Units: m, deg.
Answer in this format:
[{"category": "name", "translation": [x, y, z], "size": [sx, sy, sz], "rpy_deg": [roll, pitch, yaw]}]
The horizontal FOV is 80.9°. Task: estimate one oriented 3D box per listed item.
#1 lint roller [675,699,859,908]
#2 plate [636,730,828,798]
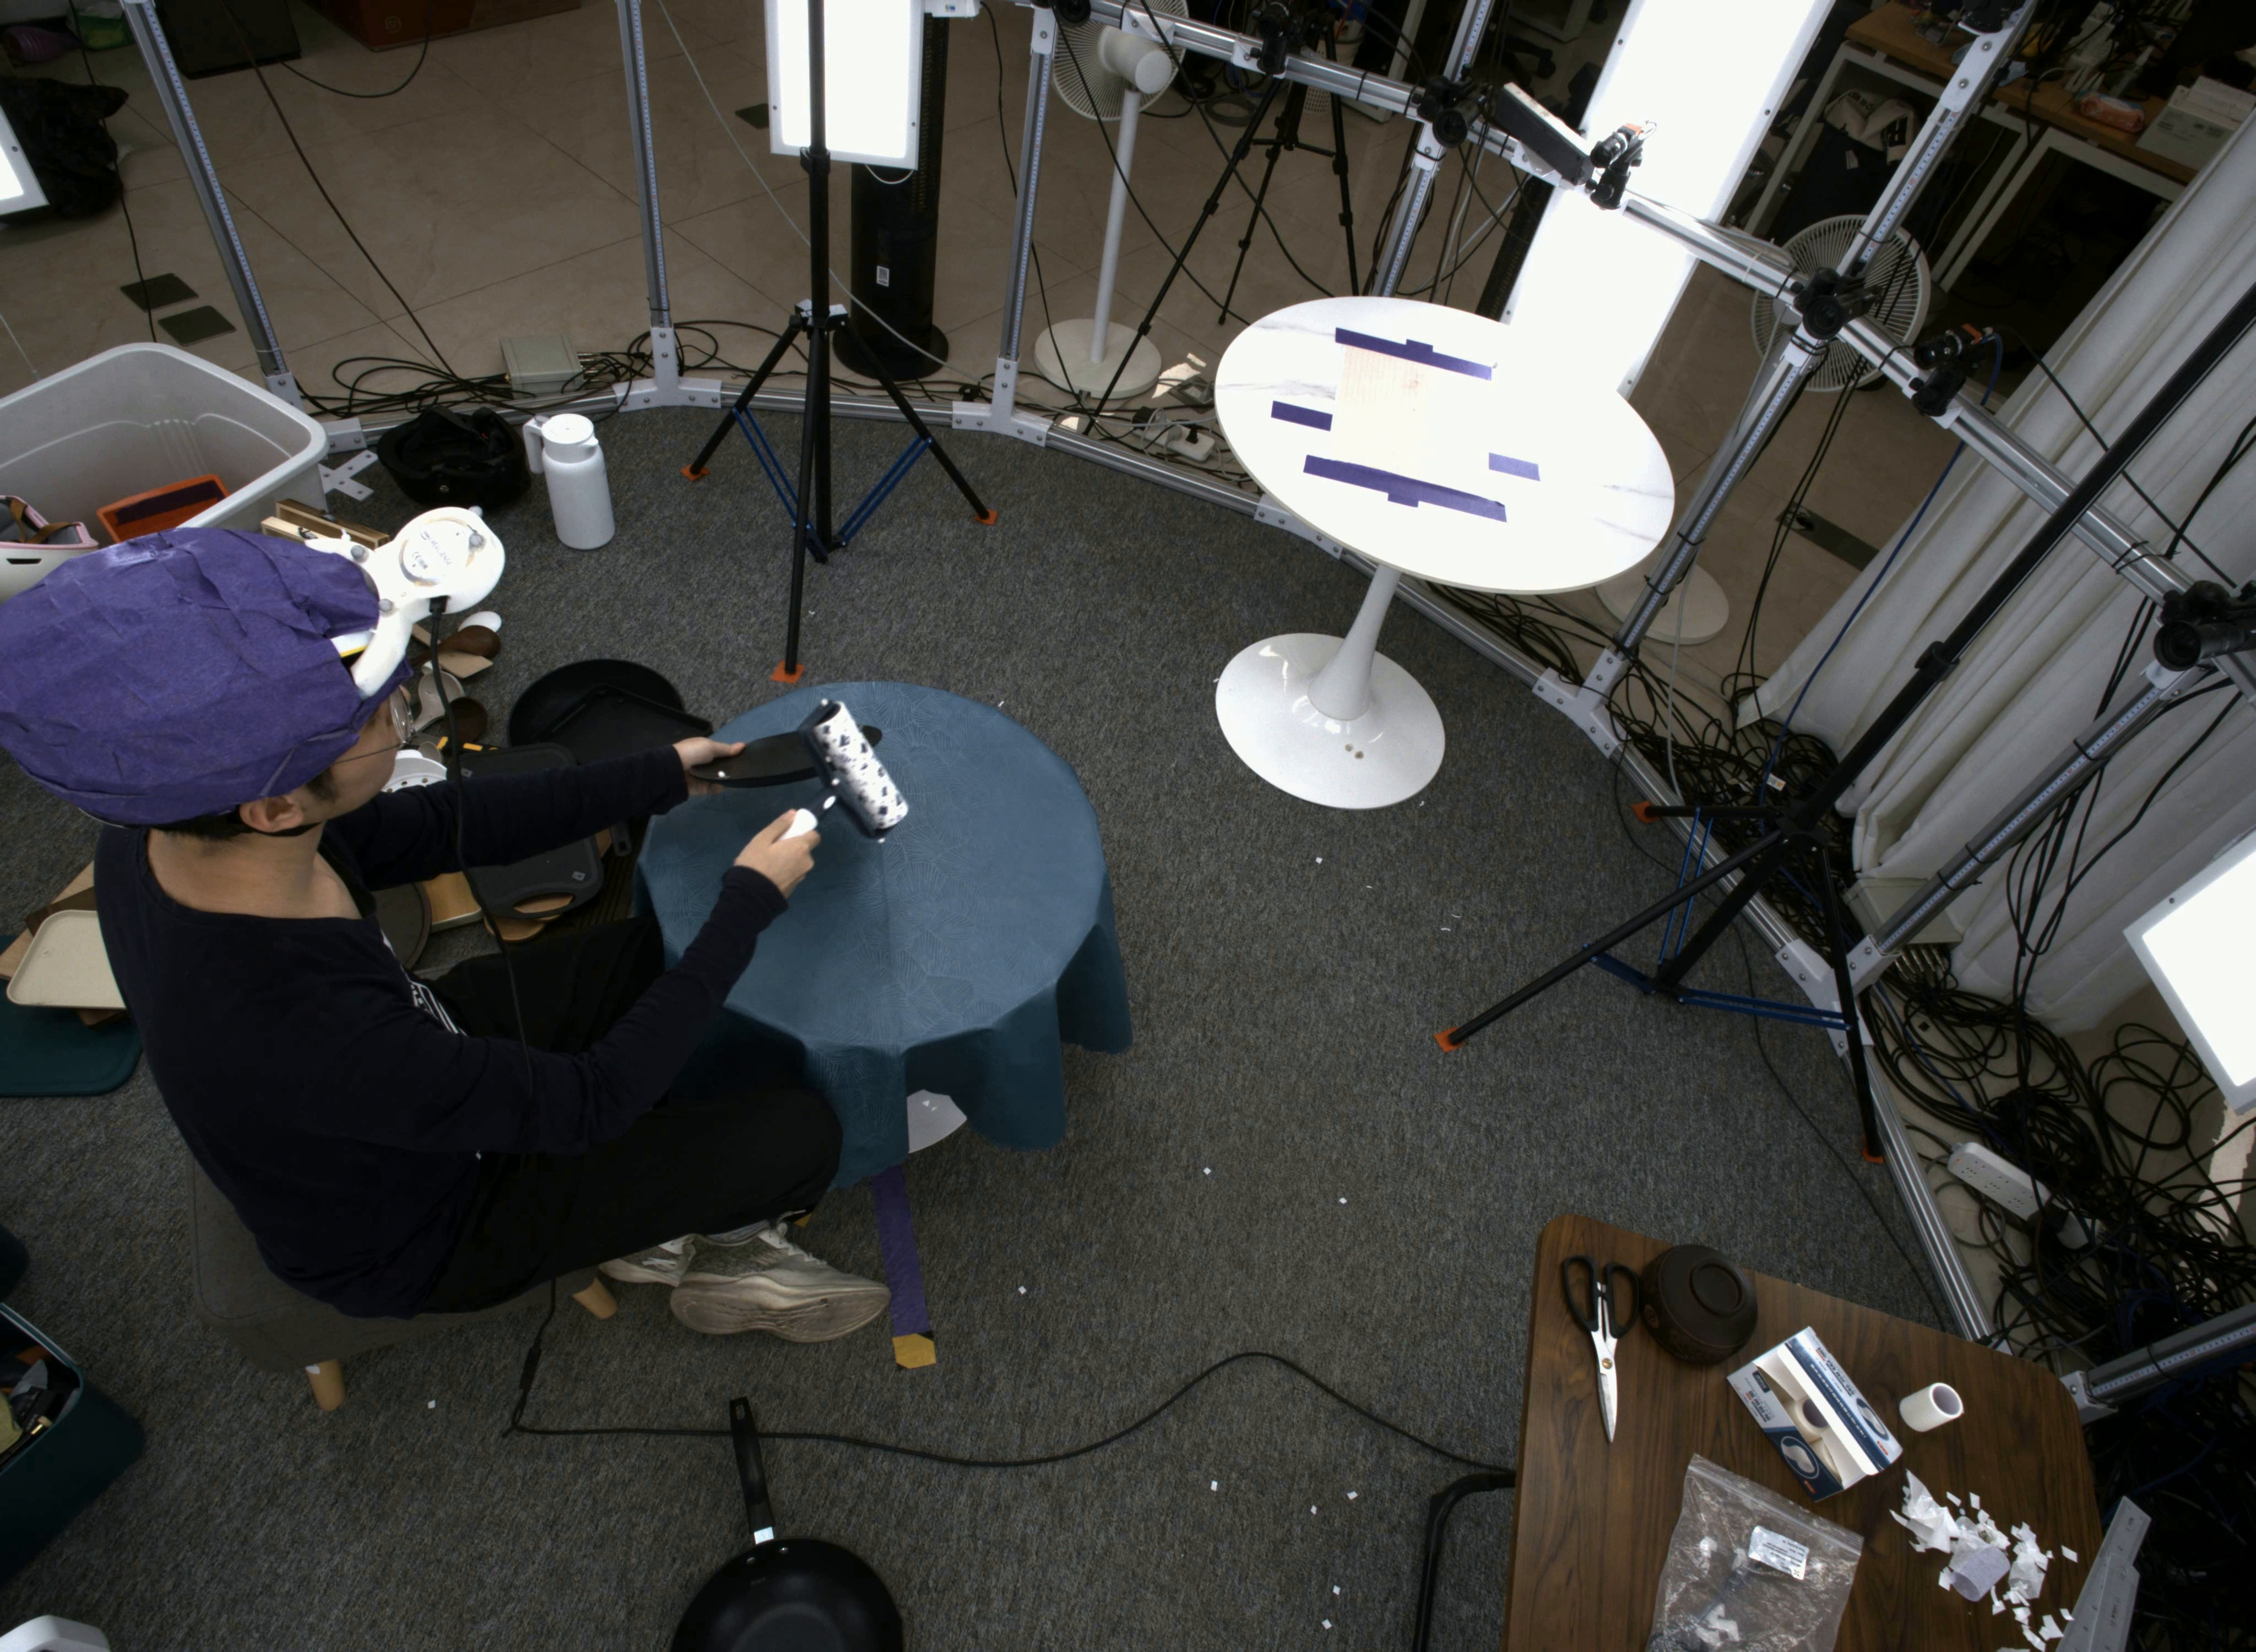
[{"category": "lint roller", "translation": [-0.425, 0.000, 1.479], "size": [0.048, 0.183, 0.246], "rpy_deg": [6, 49, 37]}, {"category": "plate", "translation": [-0.493, -0.076, 1.615], "size": [0.241, 0.024, 0.241], "rpy_deg": [-8, 18, 4]}]
